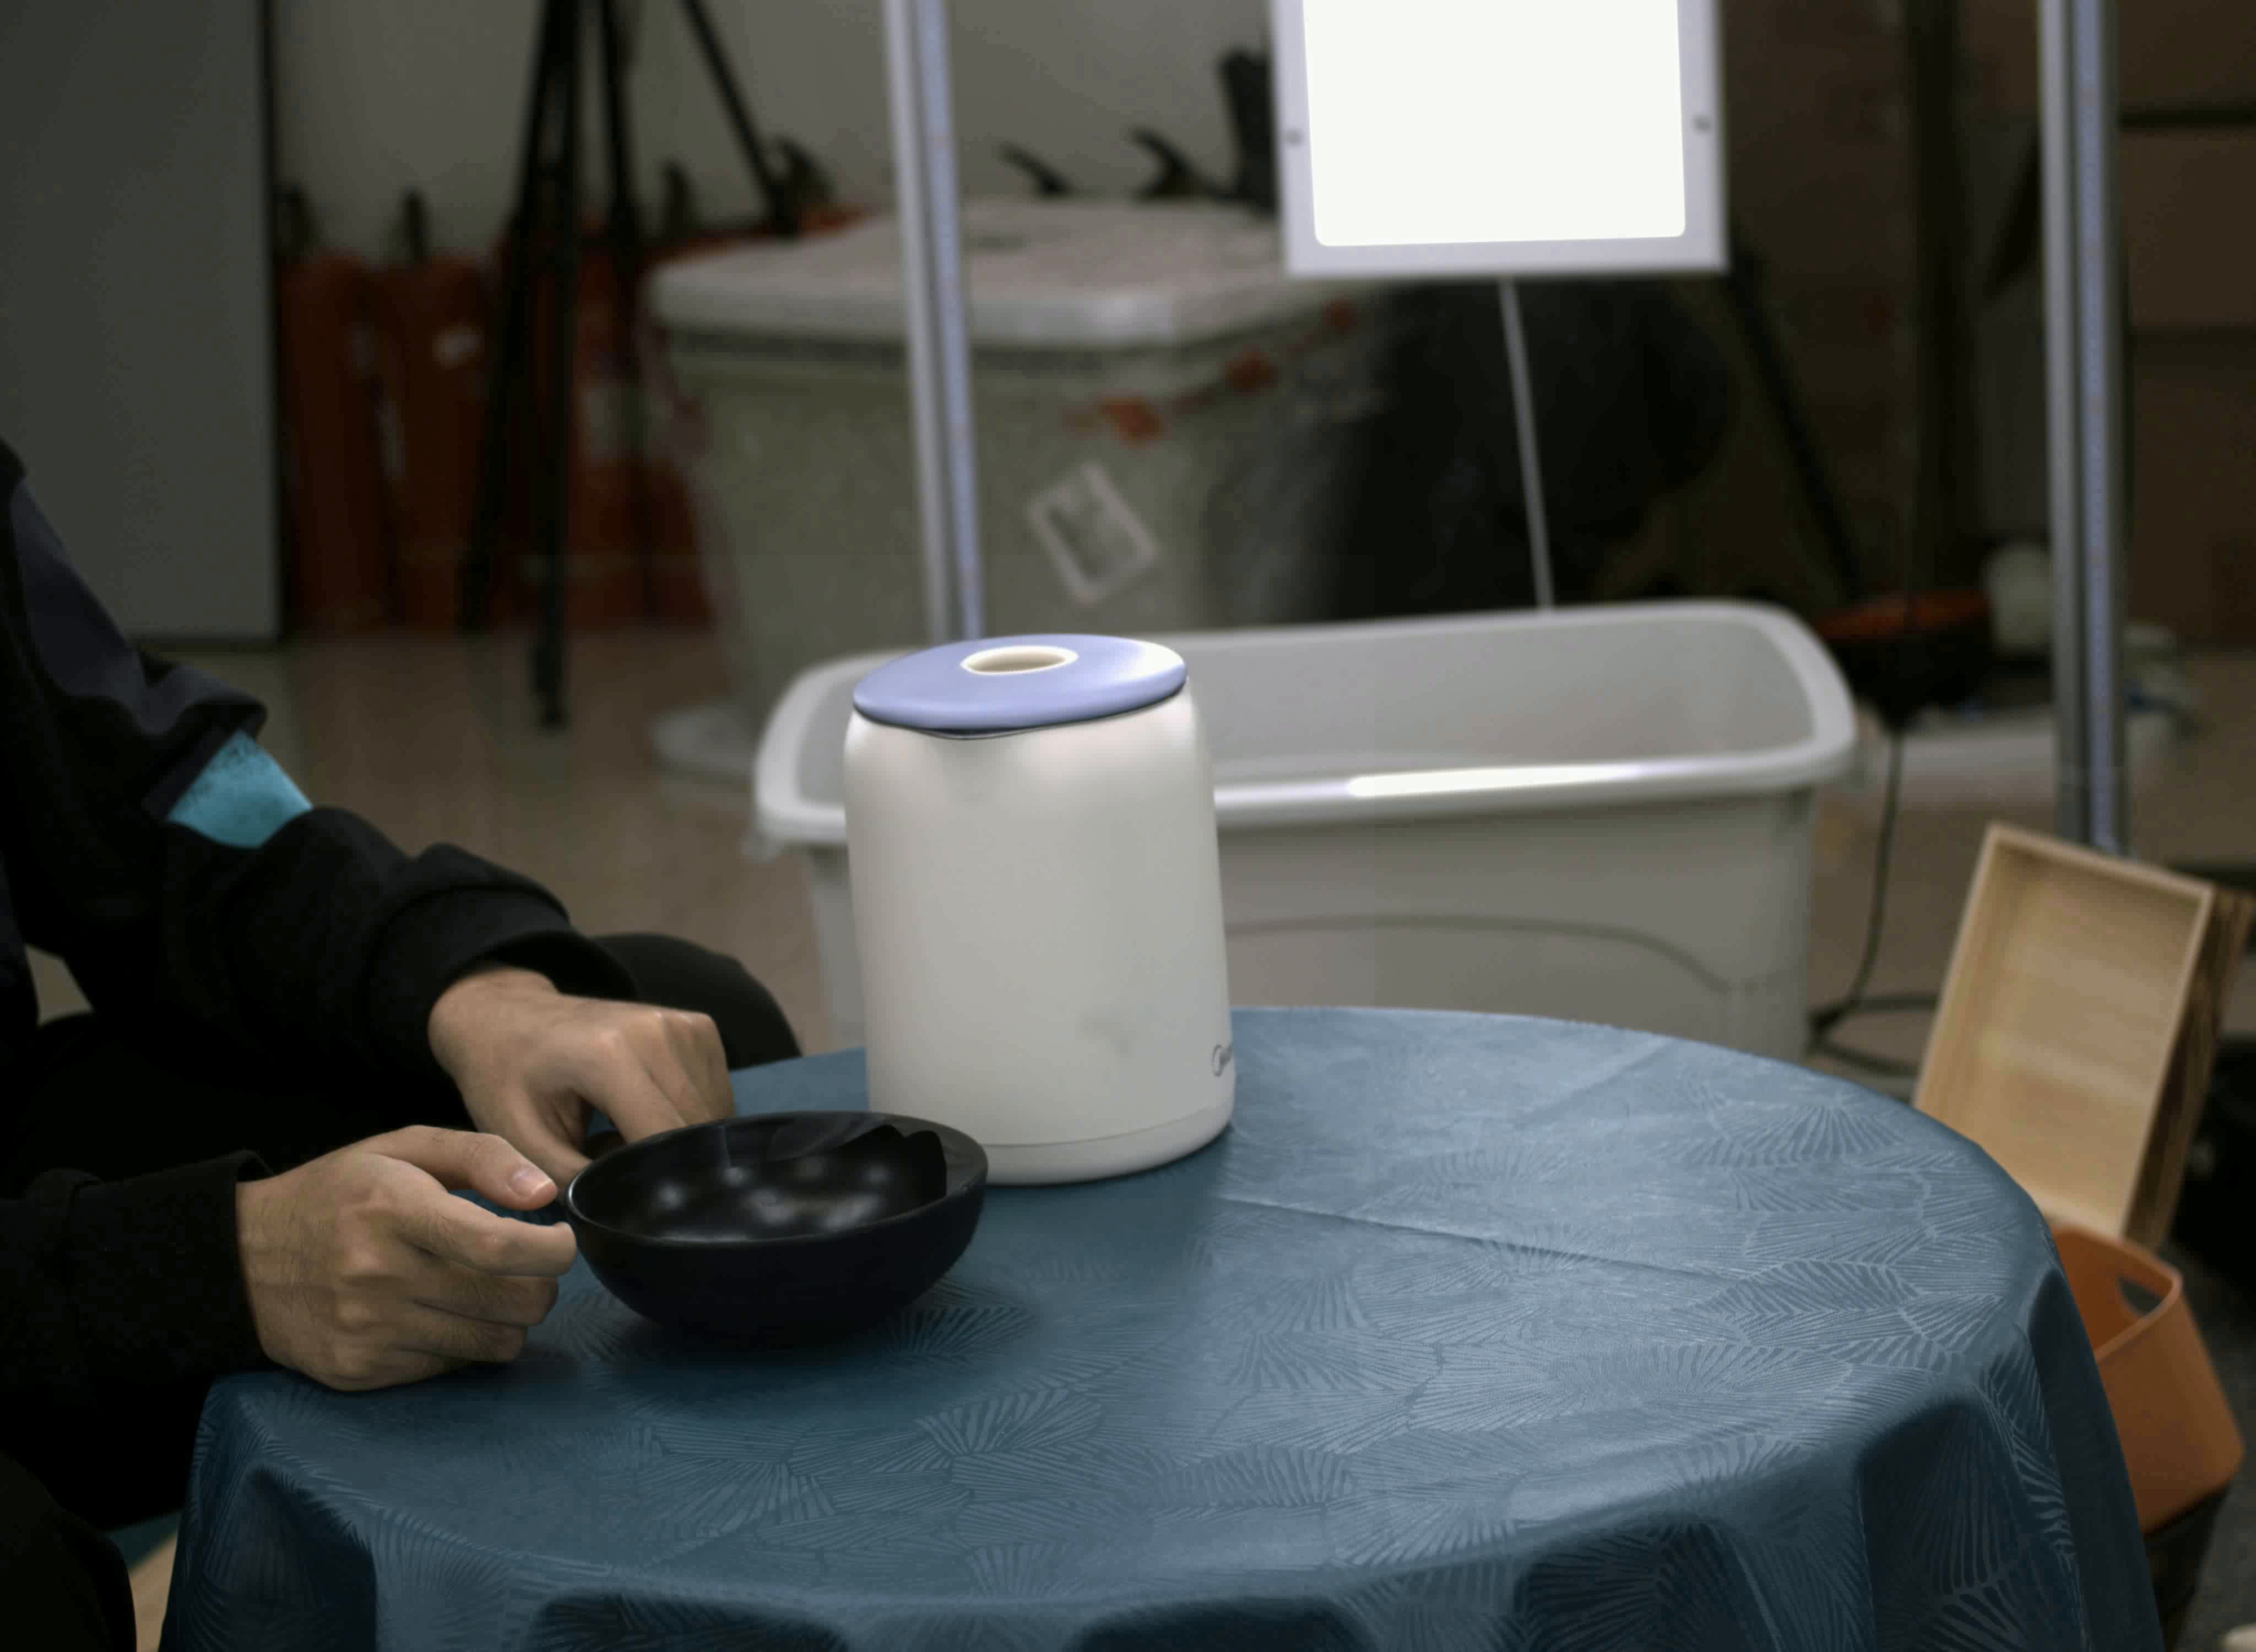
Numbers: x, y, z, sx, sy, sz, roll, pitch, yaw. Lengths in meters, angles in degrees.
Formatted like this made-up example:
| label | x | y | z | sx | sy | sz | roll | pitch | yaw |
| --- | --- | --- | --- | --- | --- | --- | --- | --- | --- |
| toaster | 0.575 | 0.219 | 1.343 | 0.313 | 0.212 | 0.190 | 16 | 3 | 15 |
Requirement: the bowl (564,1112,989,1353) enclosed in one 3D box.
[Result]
| label | x | y | z | sx | sy | sz | roll | pitch | yaw |
| --- | --- | --- | --- | --- | --- | --- | --- | --- | --- |
| bowl | -0.112 | 0.137 | 1.793 | 0.140 | 0.050 | 0.140 | -7 | 13 | 0 |

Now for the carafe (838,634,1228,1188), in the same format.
| label | x | y | z | sx | sy | sz | roll | pitch | yaw |
| --- | --- | --- | --- | --- | --- | --- | --- | --- | --- |
| carafe | -0.028 | 0.024 | 1.967 | 0.133 | 0.183 | 0.188 | 0 | 12 | 15 |
